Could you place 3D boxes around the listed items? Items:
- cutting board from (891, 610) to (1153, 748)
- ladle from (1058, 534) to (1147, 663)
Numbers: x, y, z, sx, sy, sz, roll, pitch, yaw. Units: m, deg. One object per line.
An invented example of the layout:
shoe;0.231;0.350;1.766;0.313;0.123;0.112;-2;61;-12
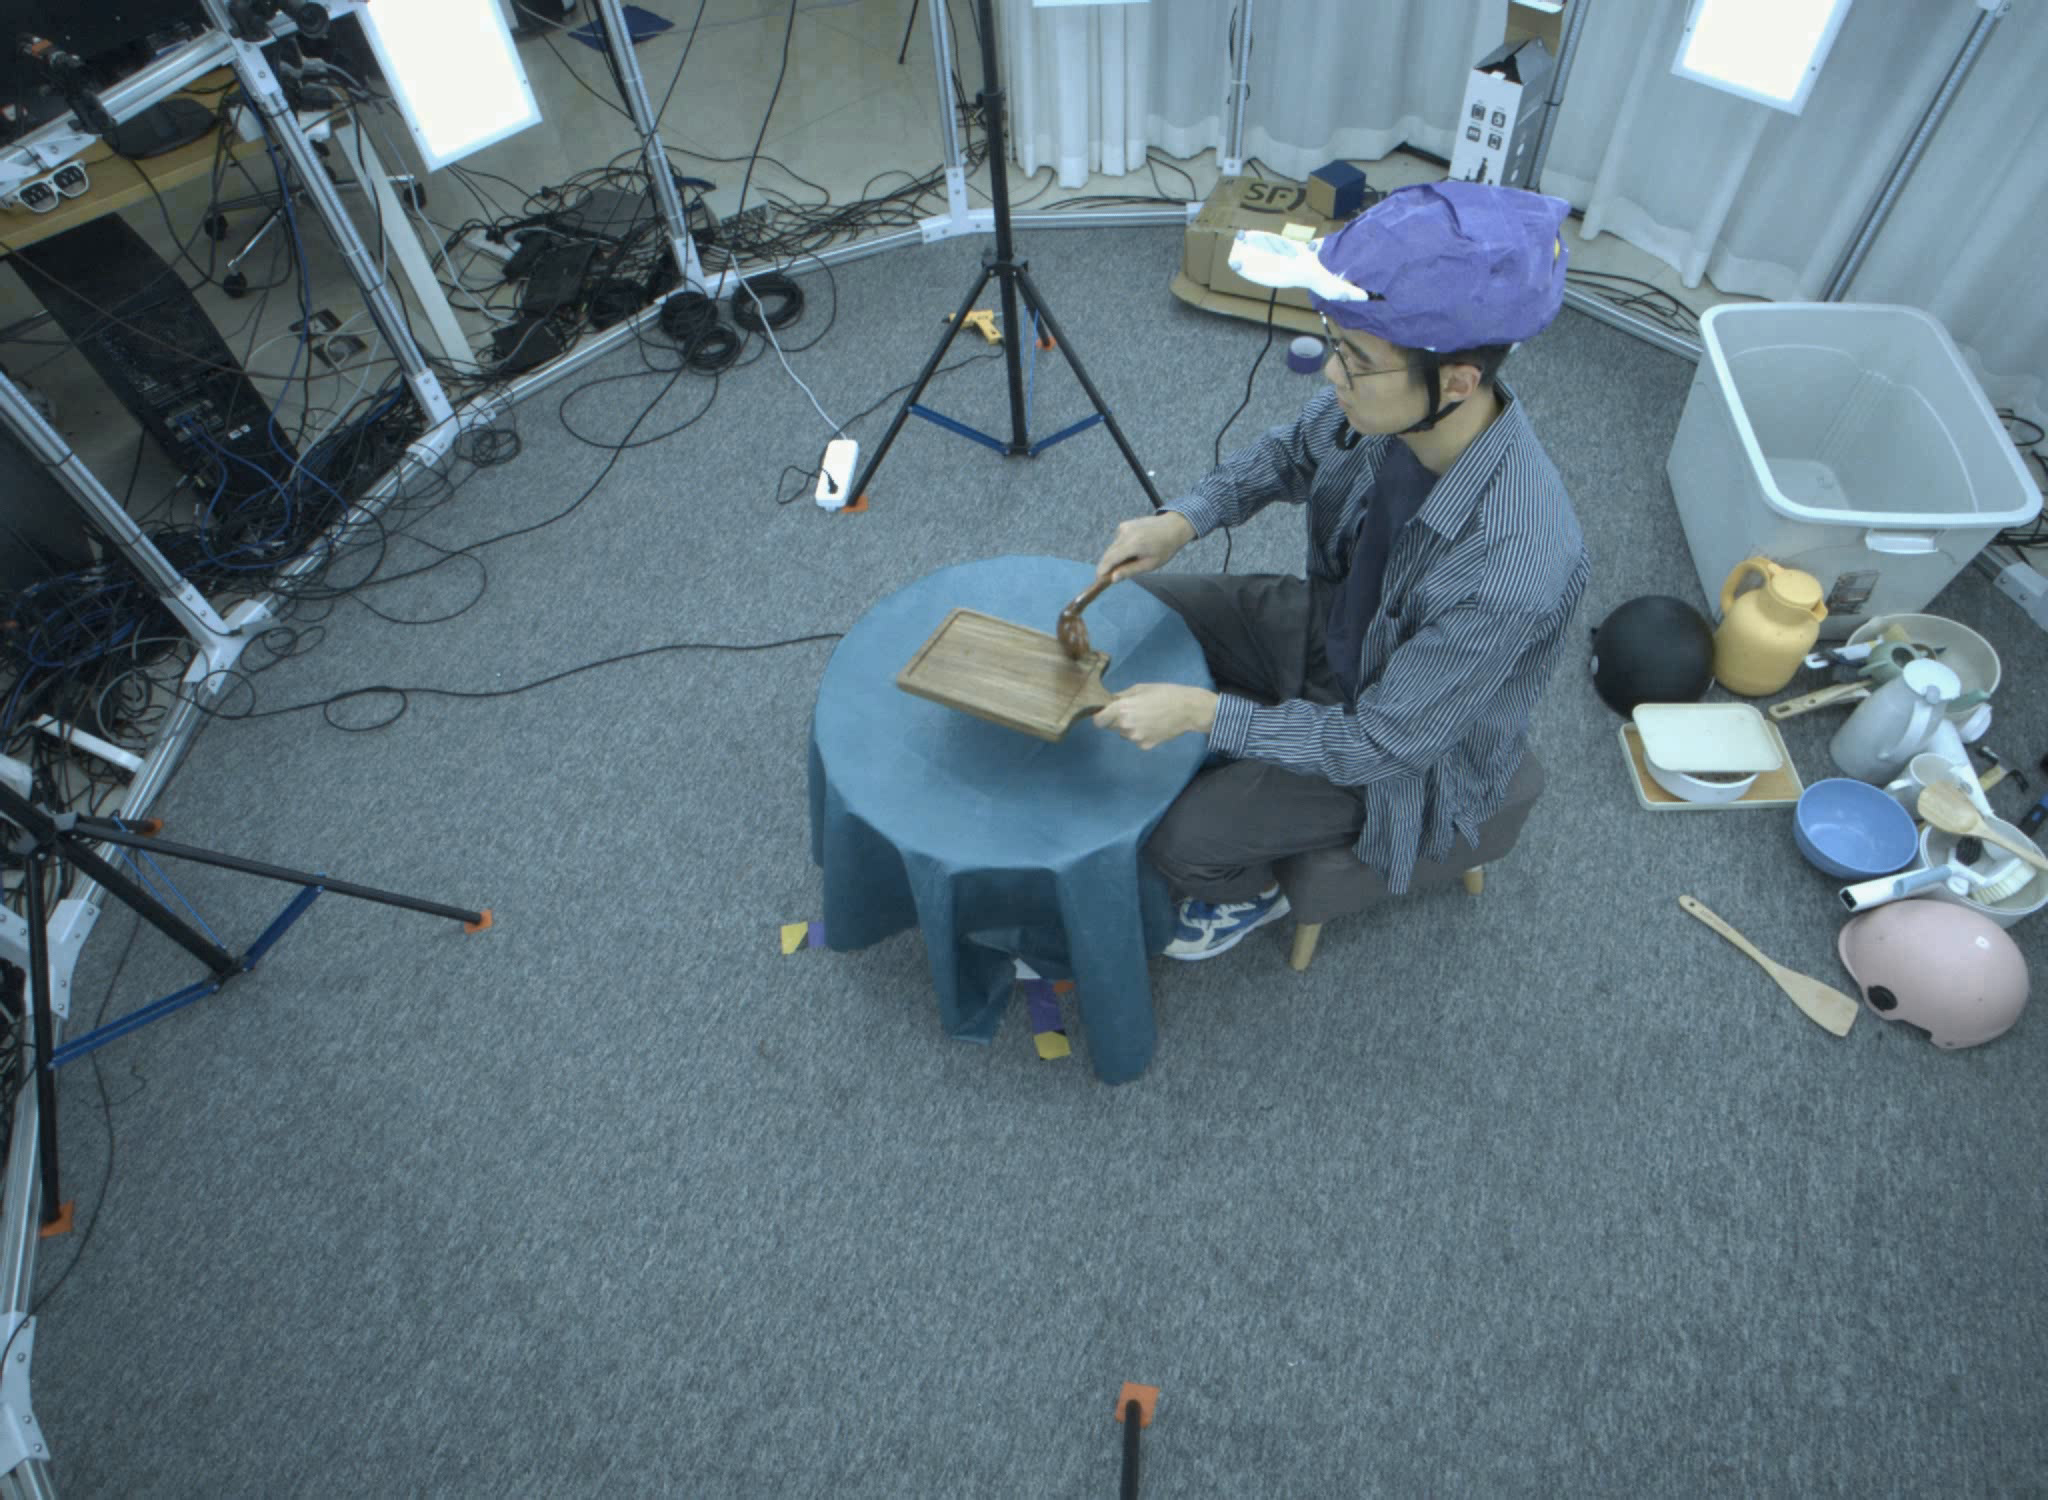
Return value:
cutting board;0.012;-0.088;1.708;0.349;0.023;0.201;20;45;12
ladle;0.132;-0.226;1.775;0.076;0.082;0.276;31;53;16
